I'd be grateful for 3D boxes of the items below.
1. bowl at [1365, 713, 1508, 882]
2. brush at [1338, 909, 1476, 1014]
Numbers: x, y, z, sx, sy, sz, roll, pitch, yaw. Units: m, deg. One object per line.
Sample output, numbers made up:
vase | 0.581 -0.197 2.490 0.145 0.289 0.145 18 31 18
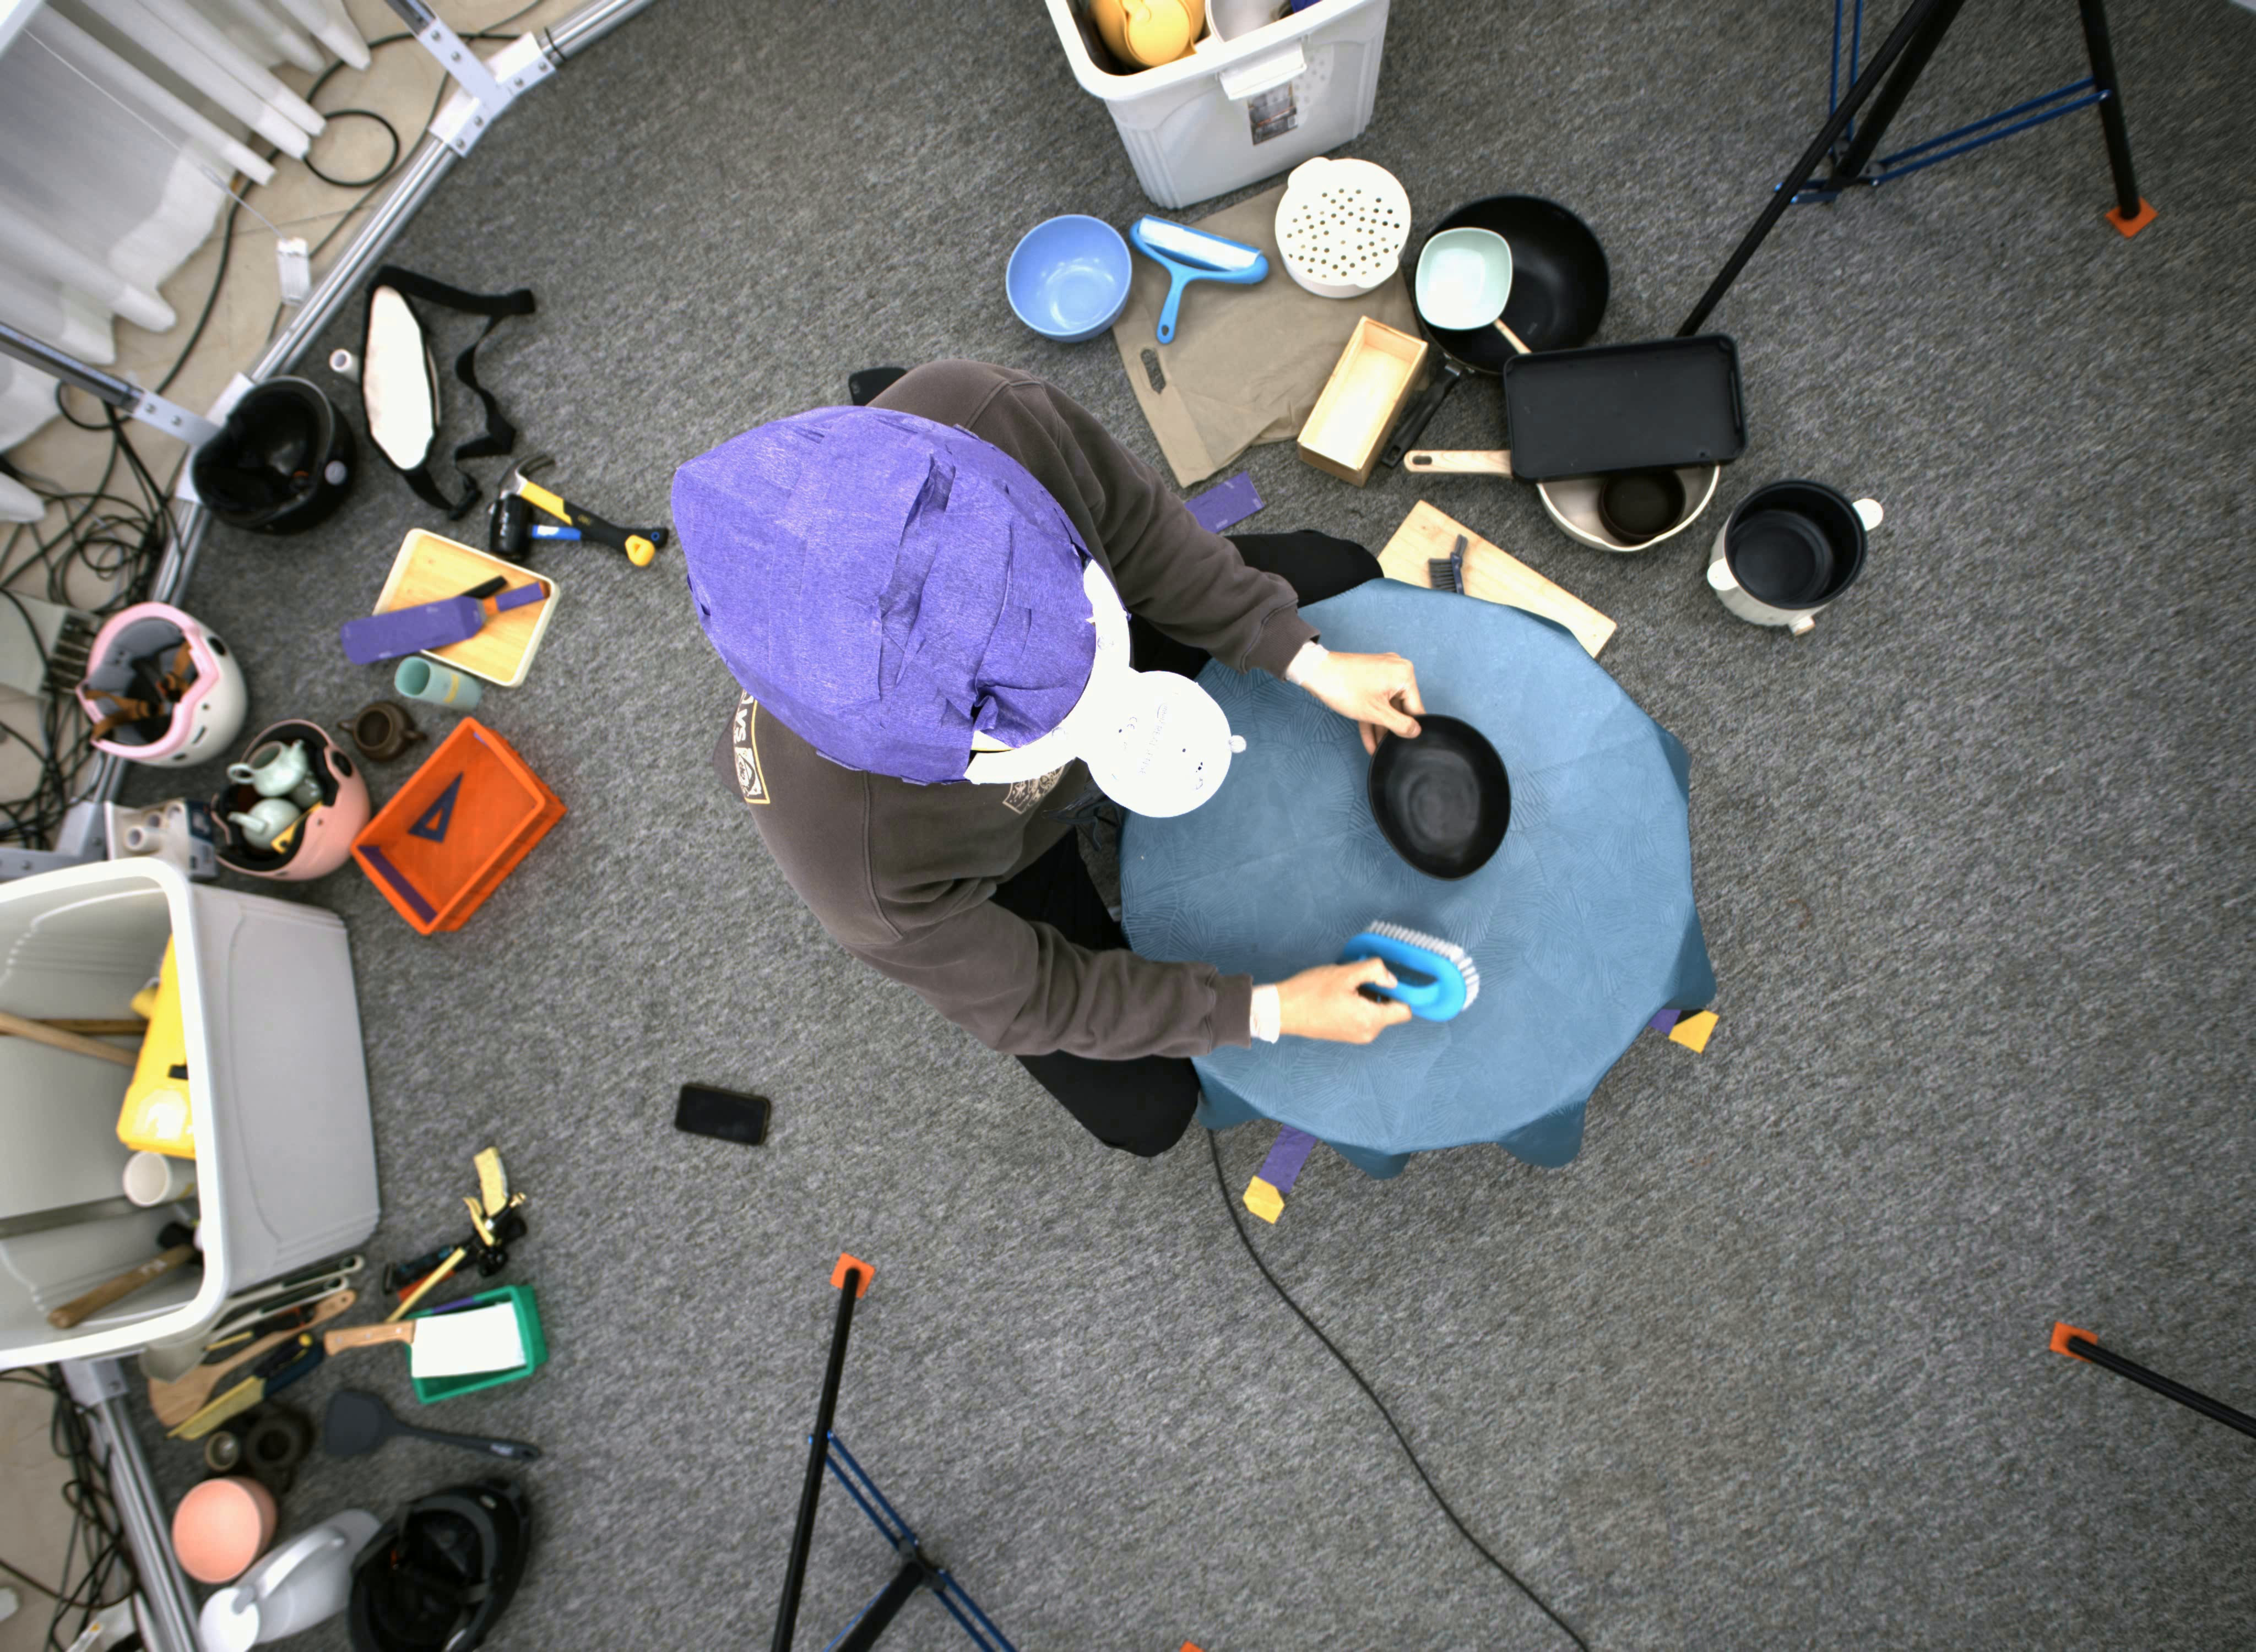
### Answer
bowl | 0.310 -0.029 1.384 0.138 0.067 0.169 -17 84 8
brush | 0.269 0.141 1.375 0.141 0.062 0.086 21 127 35
